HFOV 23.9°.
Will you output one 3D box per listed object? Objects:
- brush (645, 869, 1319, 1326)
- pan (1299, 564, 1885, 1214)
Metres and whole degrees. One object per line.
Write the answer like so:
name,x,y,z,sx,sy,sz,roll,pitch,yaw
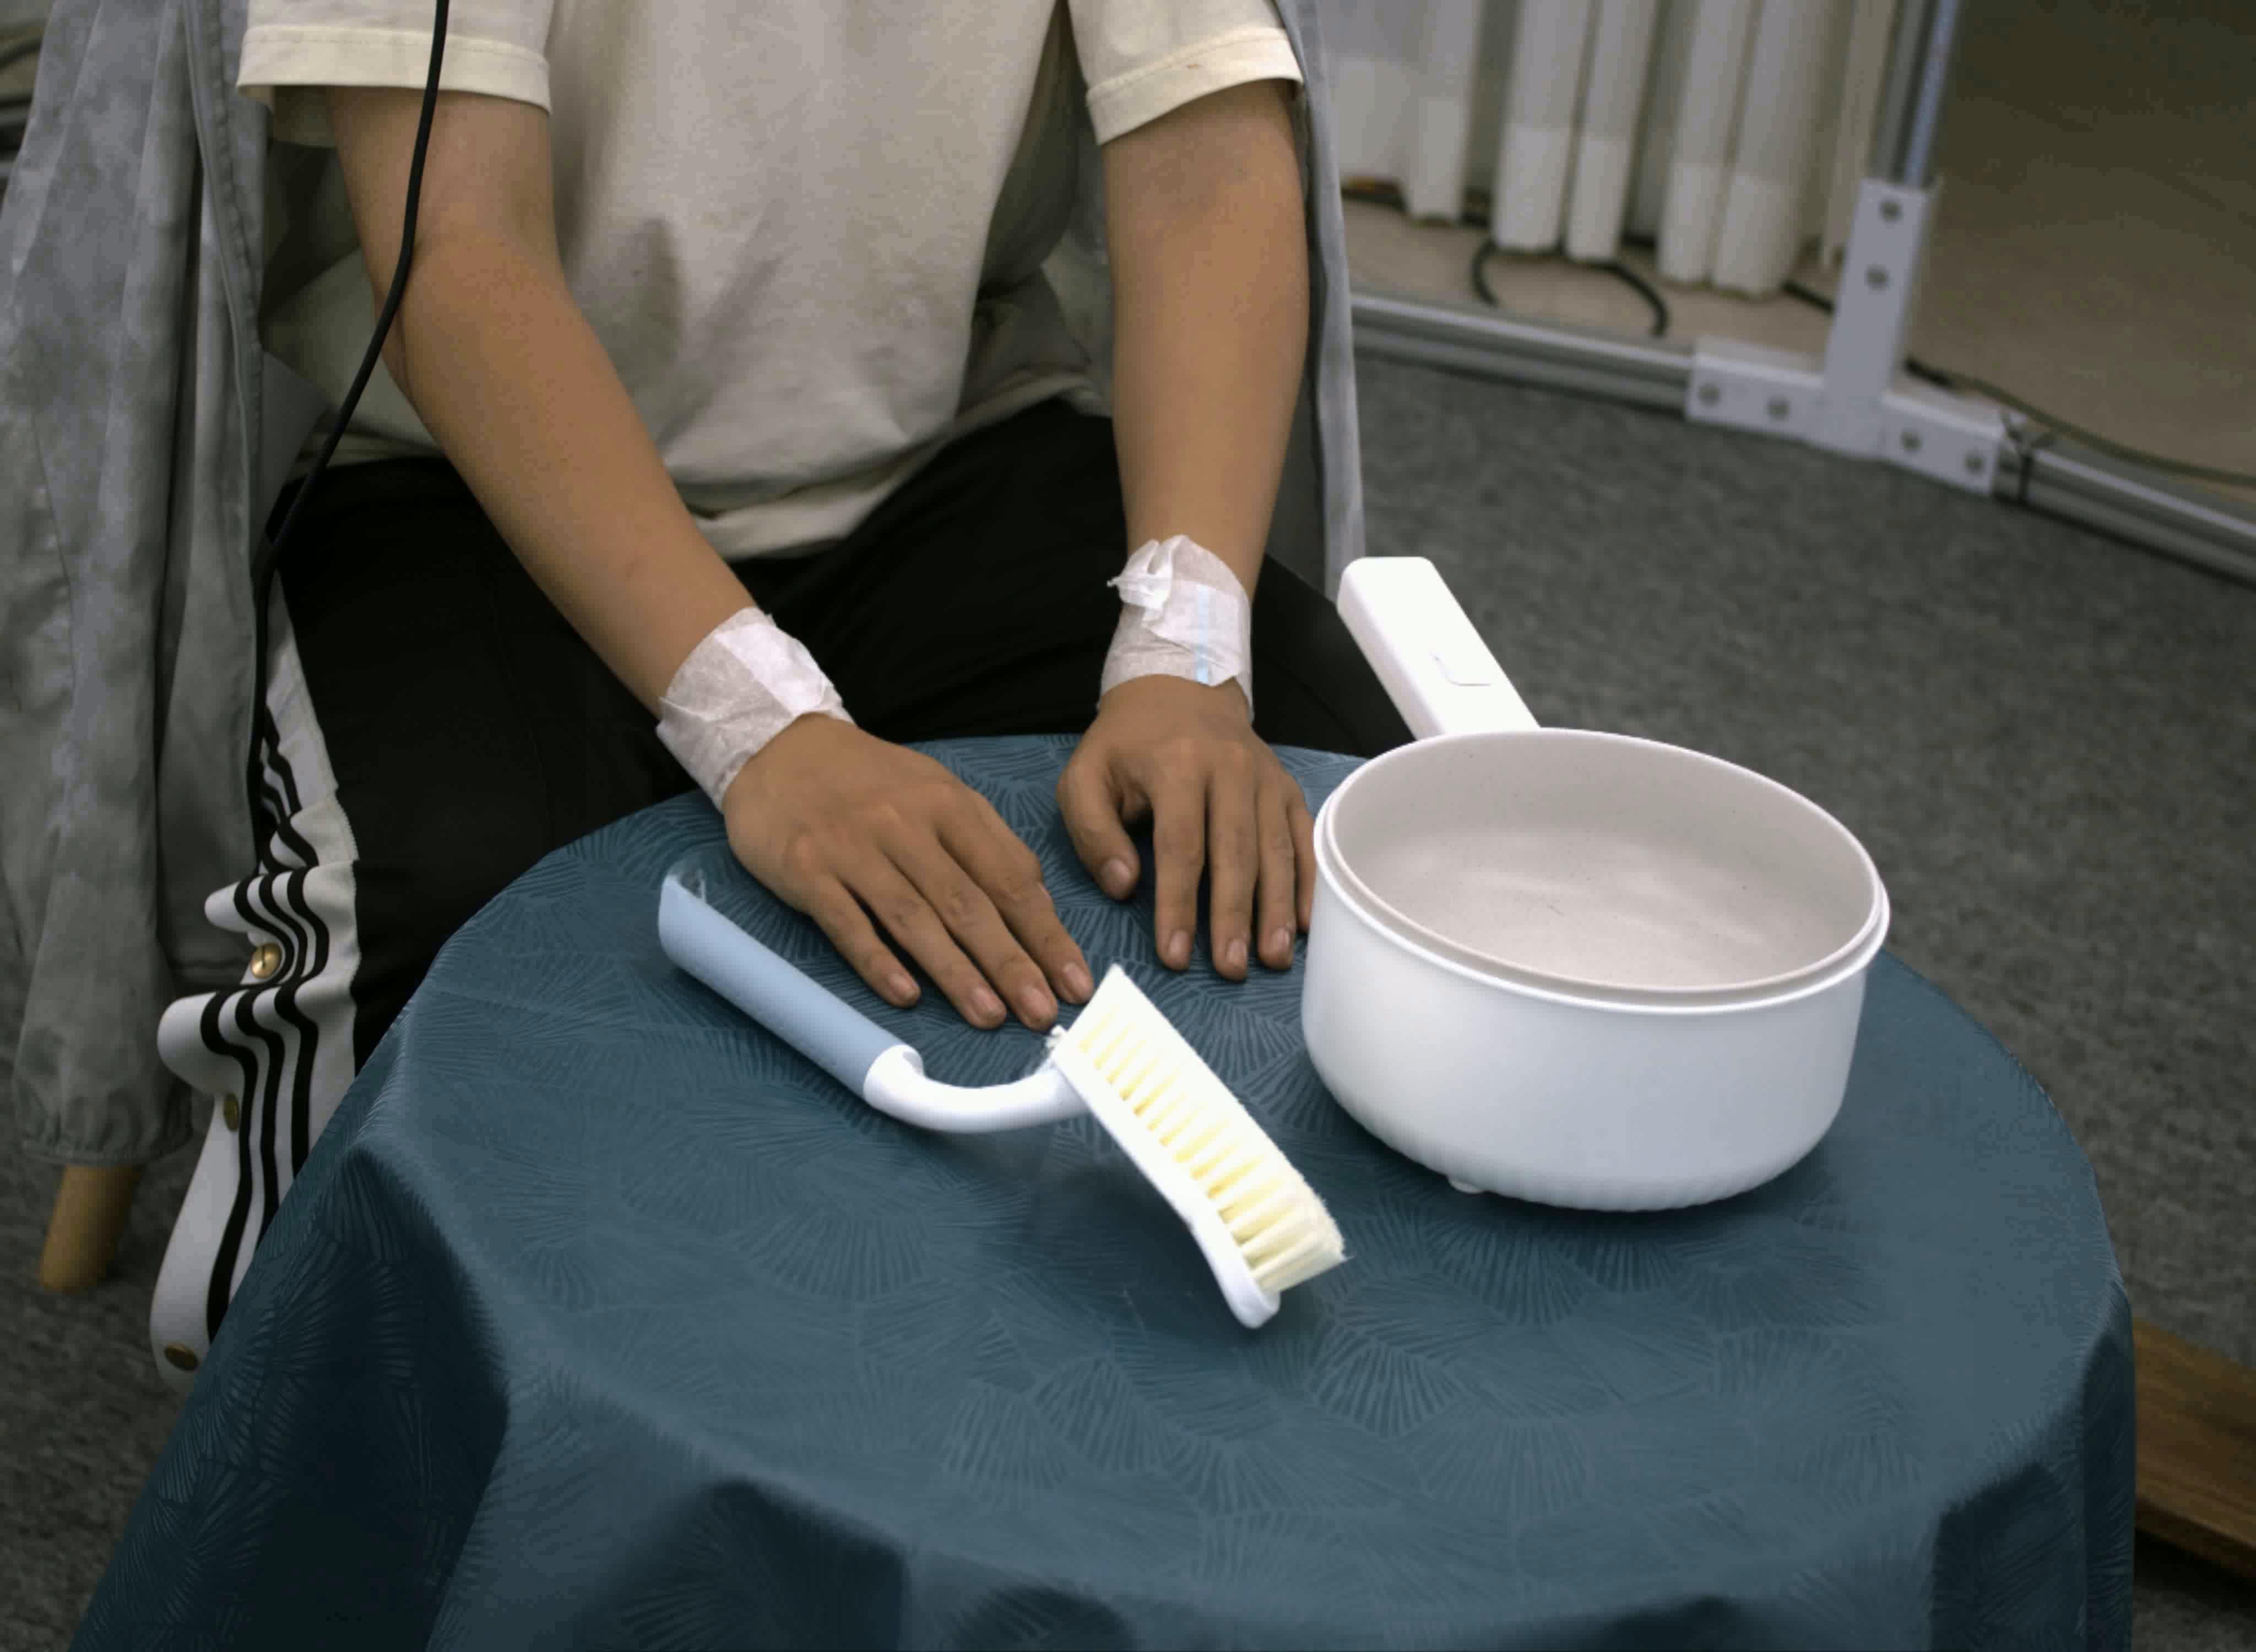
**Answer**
brush,-0.046,0.064,1.824,0.084,0.083,0.328,-20,38,-36
pan,0.140,0.020,1.933,0.200,0.102,0.358,-2,27,-15
